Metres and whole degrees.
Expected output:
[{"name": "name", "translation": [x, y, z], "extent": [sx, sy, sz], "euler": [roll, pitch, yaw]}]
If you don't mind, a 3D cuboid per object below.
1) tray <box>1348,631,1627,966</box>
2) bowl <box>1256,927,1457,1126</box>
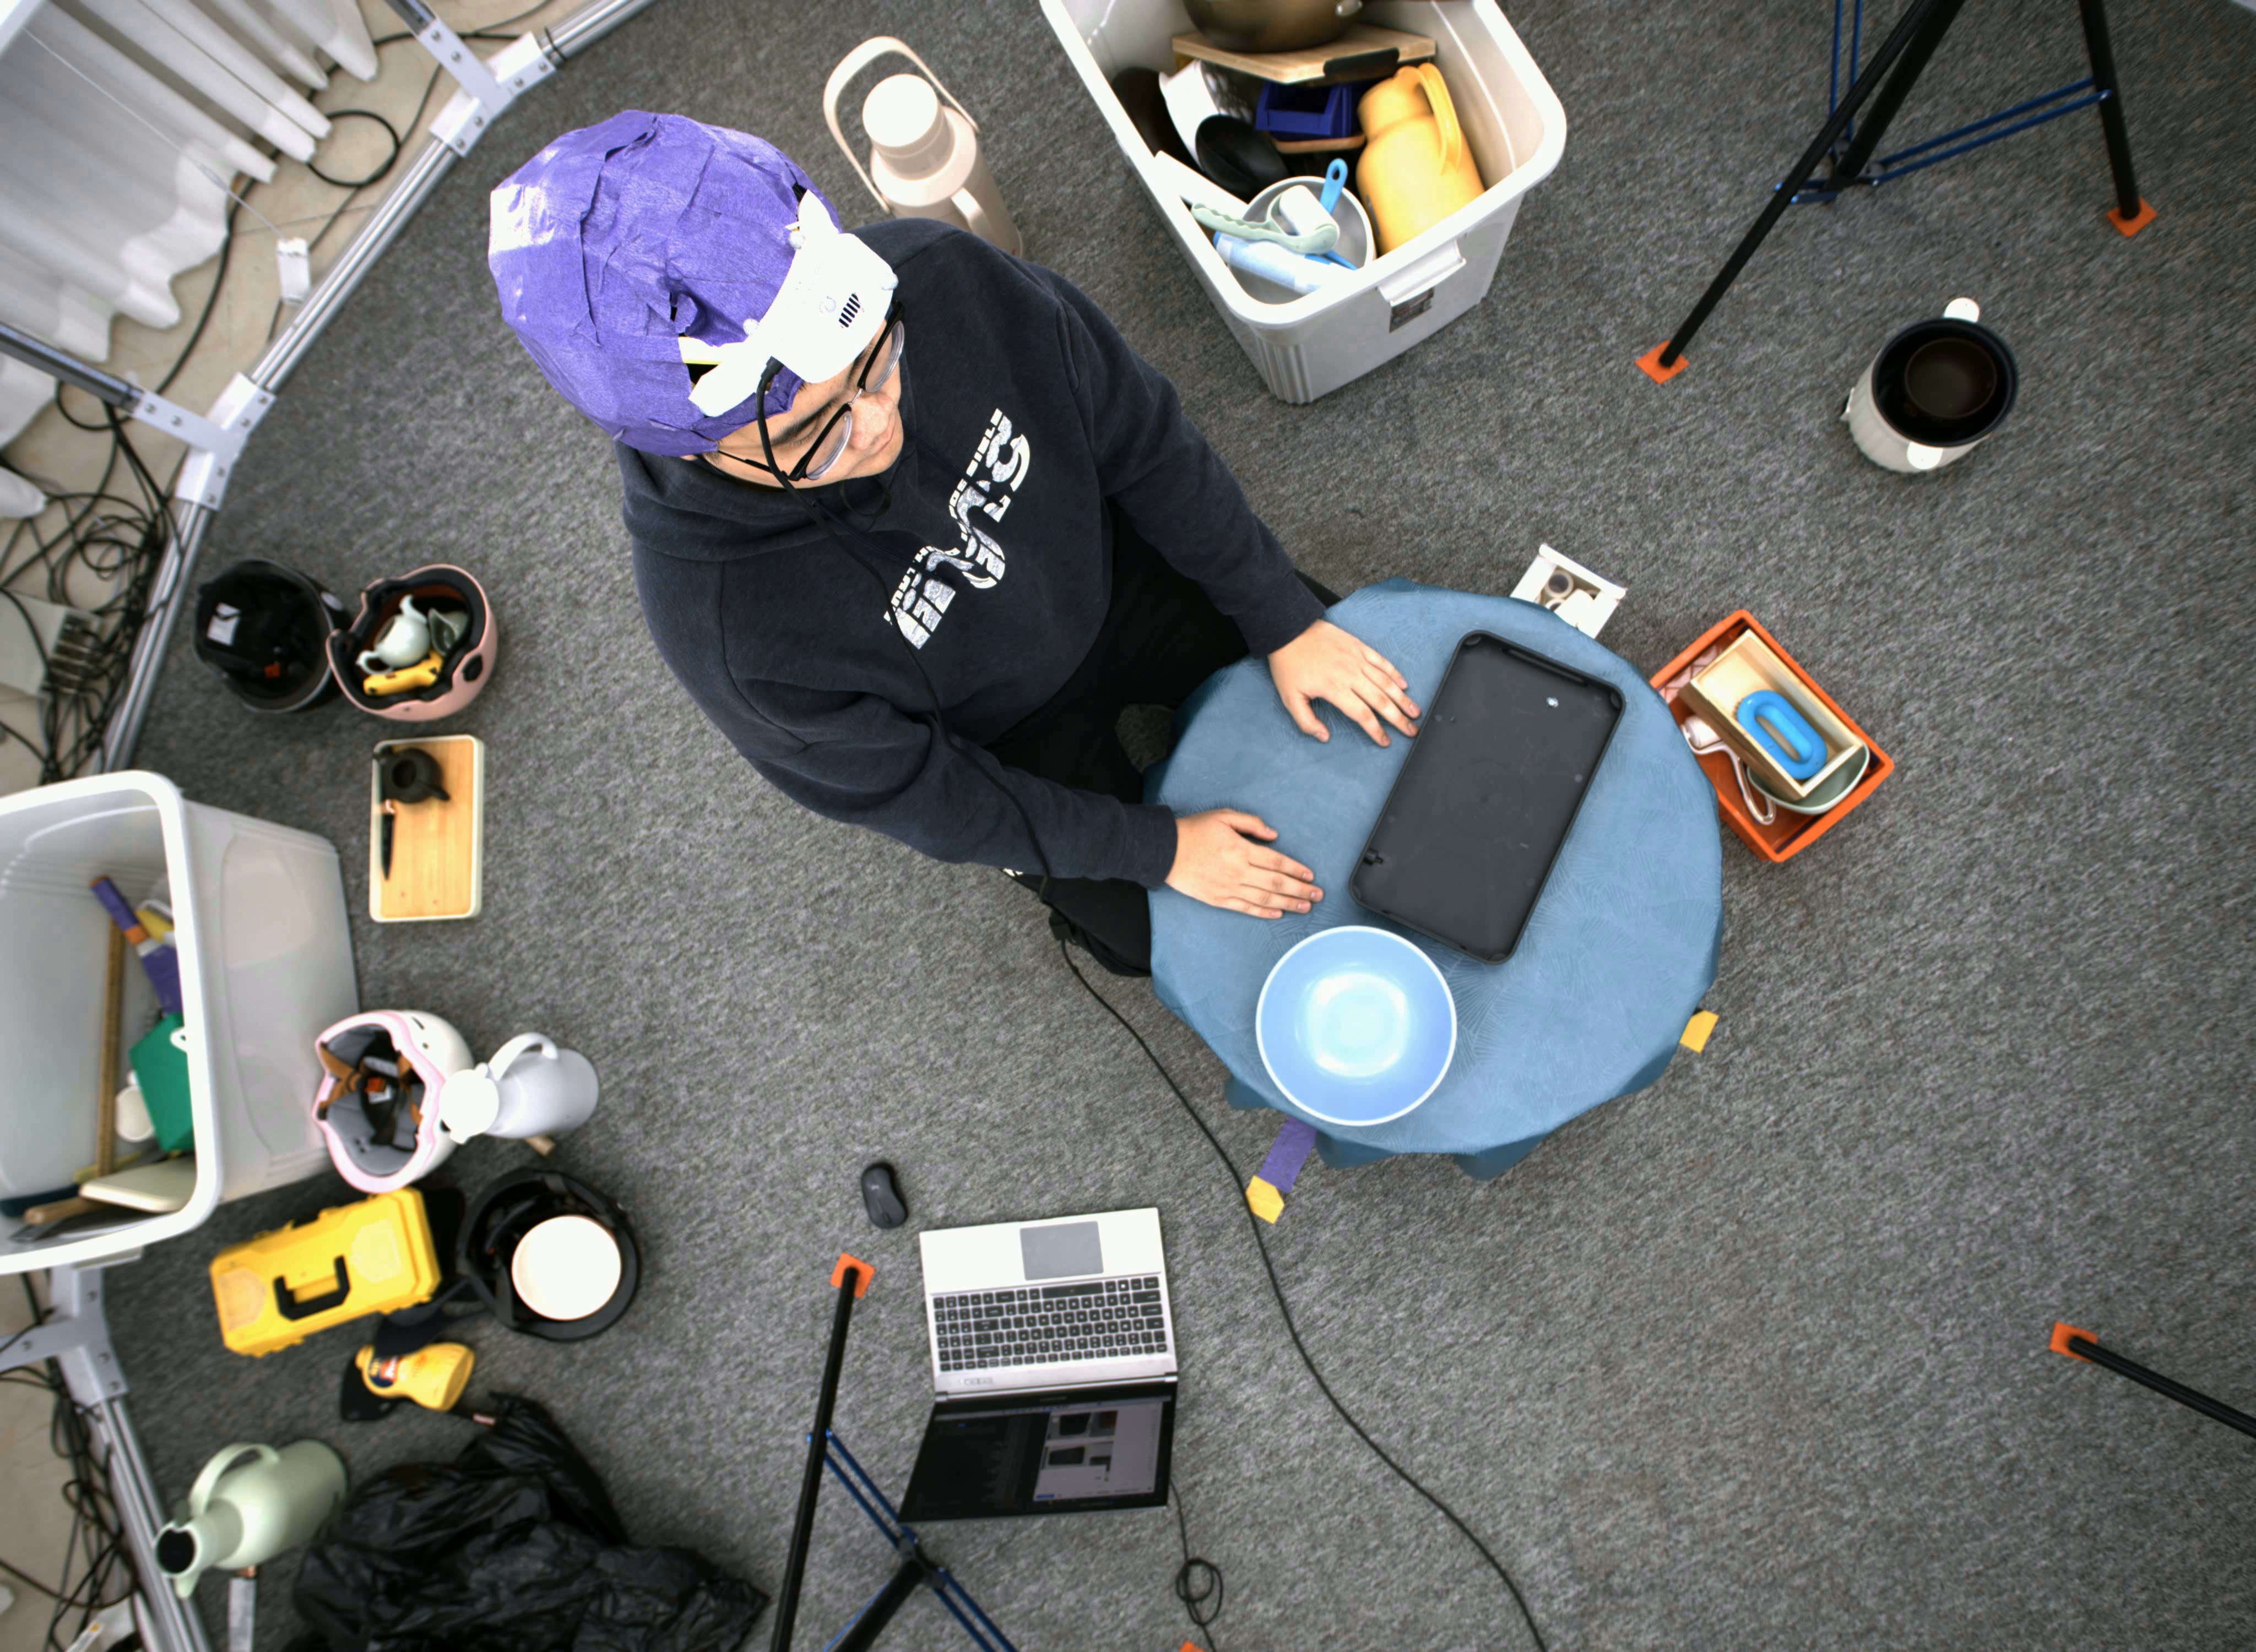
[{"name": "tray", "translation": [0.372, -0.031, 1.428], "extent": [0.184, 0.037, 0.318], "euler": [25, 91, 12]}, {"name": "bowl", "translation": [0.232, 0.200, 1.410], "extent": [0.197, 0.095, 0.196], "euler": [-1, 88, 11]}]
